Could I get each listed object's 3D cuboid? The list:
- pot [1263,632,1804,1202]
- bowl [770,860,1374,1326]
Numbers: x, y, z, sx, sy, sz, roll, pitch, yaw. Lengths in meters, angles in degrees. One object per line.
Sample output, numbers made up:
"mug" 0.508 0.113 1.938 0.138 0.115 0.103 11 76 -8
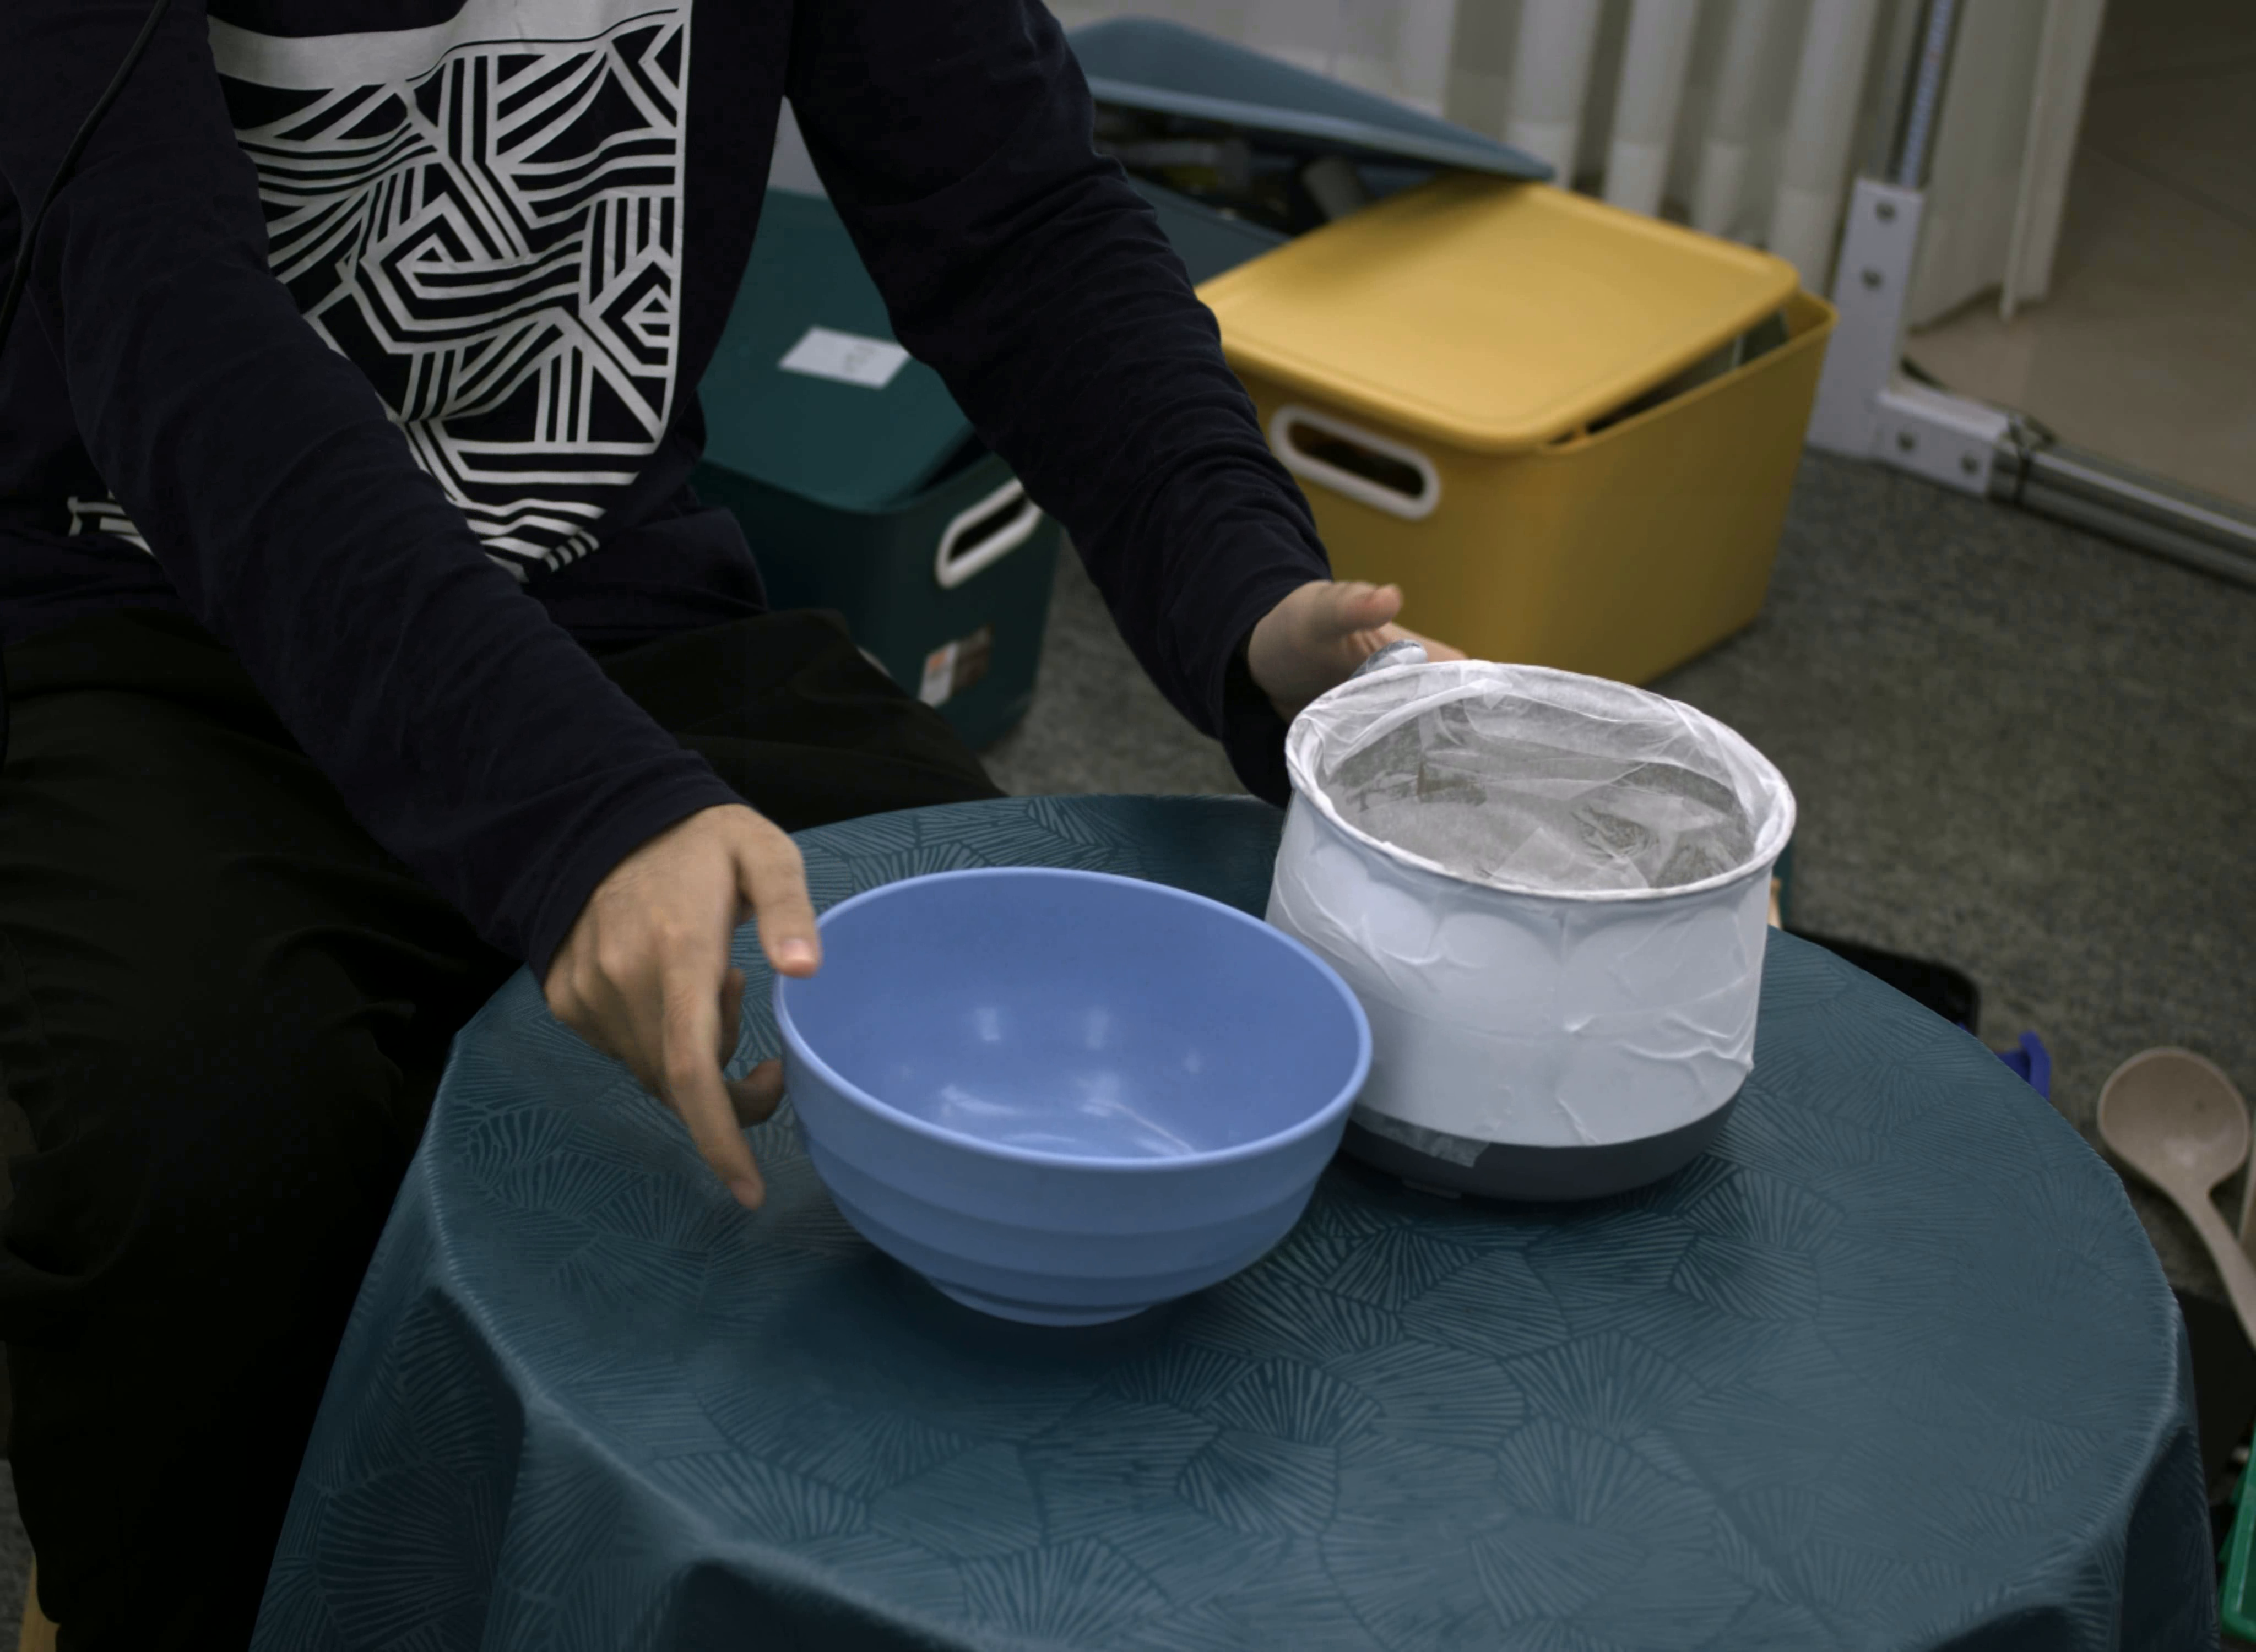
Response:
"pot" 0.123 0.025 1.875 0.177 0.136 0.236 -5 30 -27
"bowl" -0.022 0.099 1.742 0.196 0.095 0.198 4 29 -3
